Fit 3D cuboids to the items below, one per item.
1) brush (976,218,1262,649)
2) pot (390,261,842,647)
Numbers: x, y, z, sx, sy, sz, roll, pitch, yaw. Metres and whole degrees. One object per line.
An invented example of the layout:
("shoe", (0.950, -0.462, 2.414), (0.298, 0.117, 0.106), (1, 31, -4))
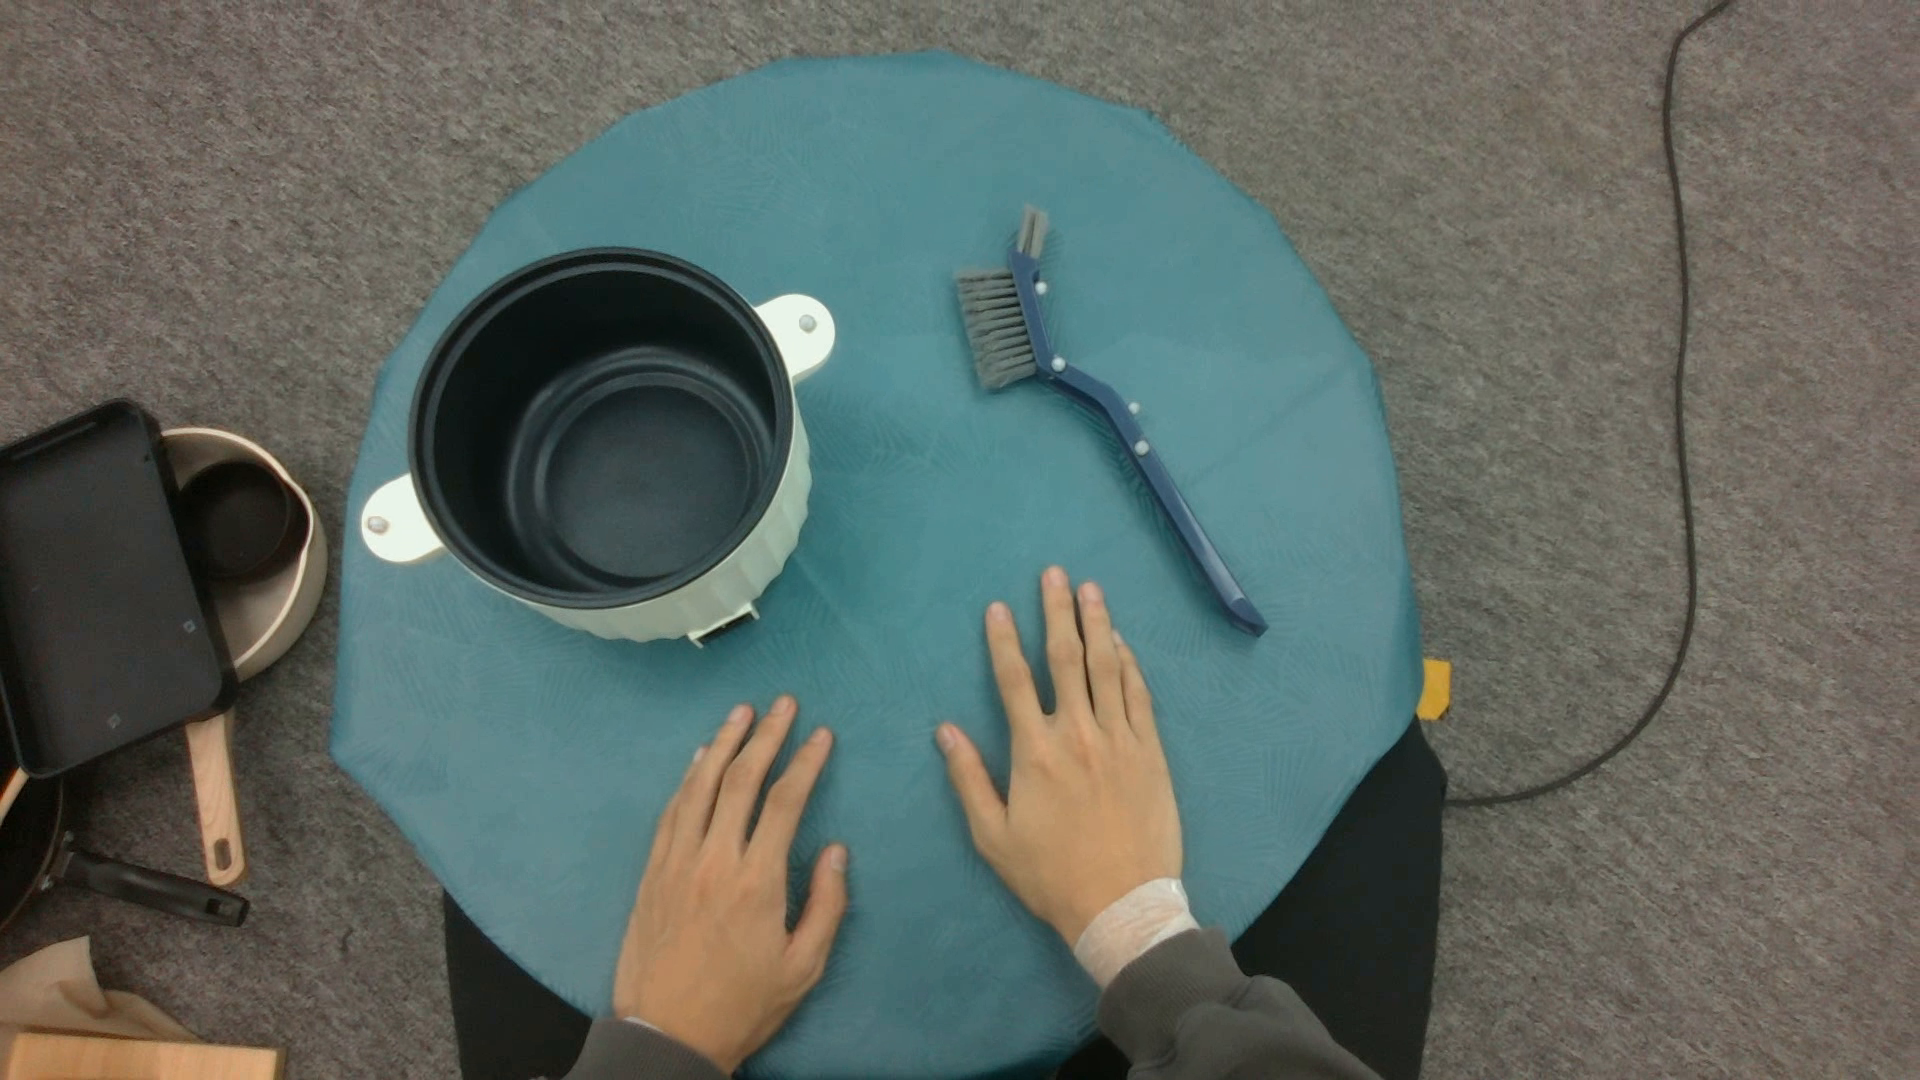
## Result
("brush", (0.102, -0.063, 0.788), (0.096, 0.033, 0.273), (-36, 75, -9))
("pot", (-0.169, -0.041, 0.732), (0.240, 0.142, 0.190), (-28, 80, -8))
